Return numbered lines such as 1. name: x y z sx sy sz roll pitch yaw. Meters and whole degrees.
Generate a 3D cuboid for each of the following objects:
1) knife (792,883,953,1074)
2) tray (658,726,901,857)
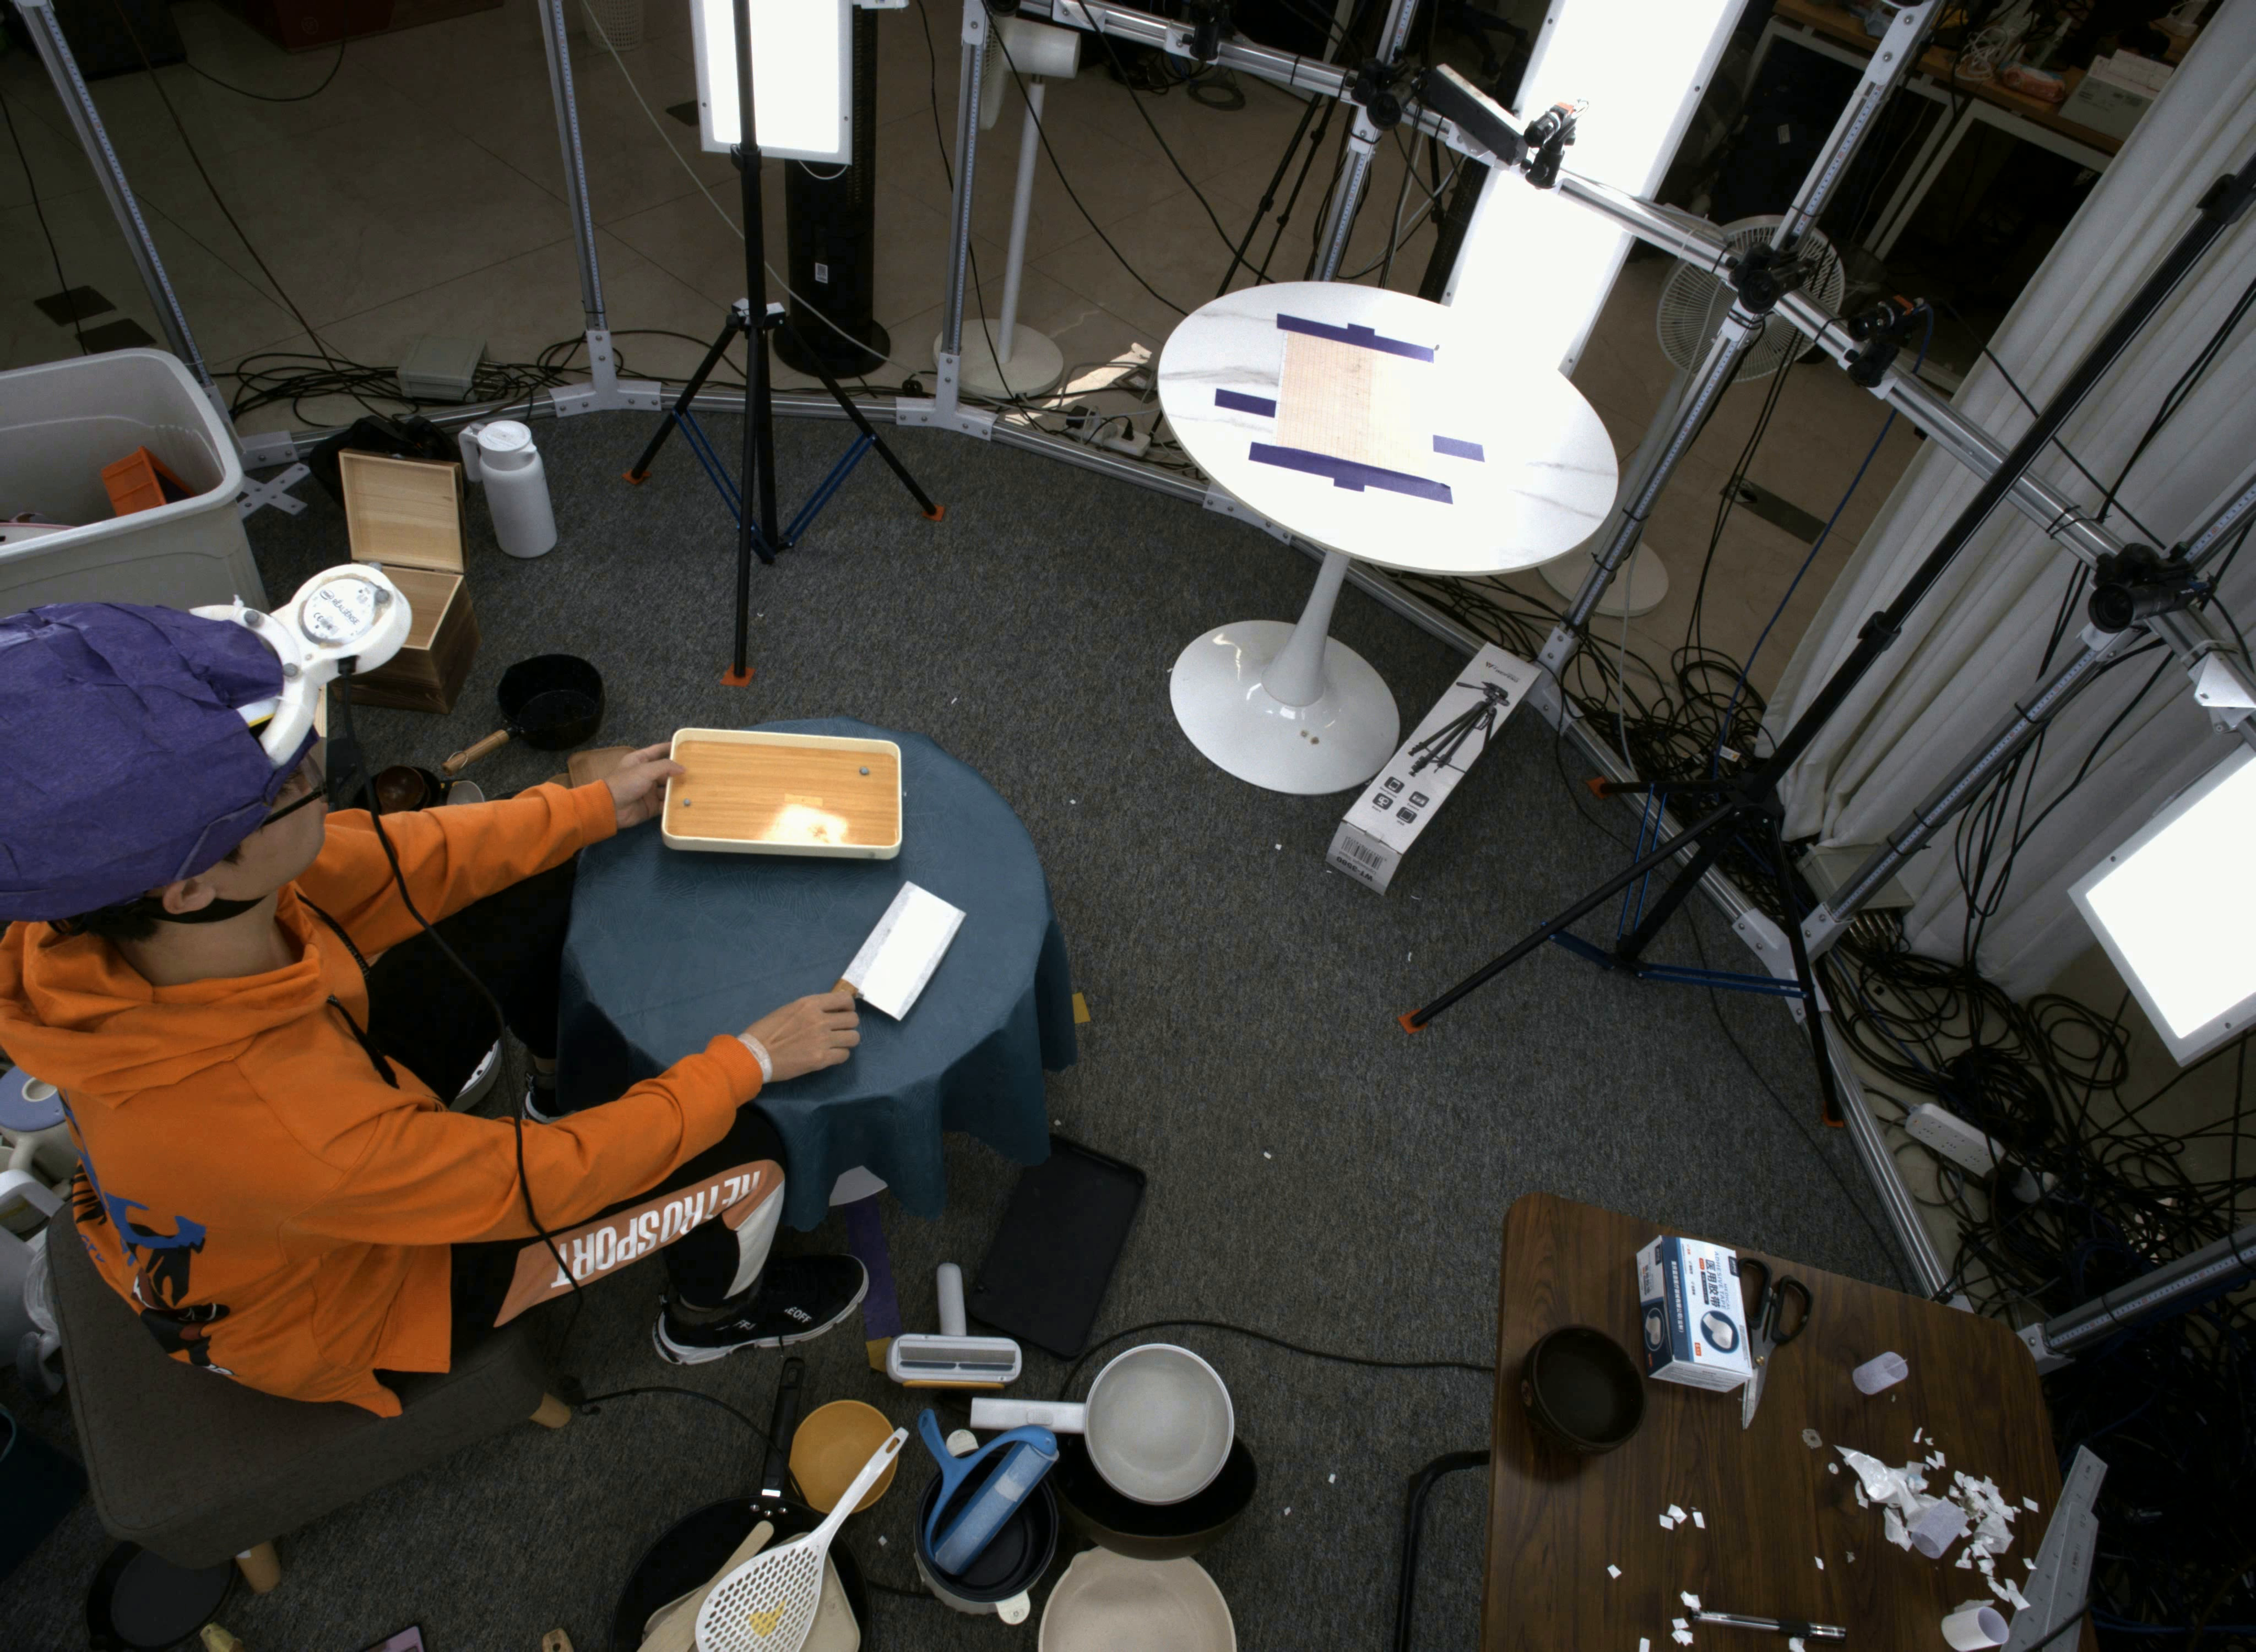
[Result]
1. knife: -0.299 0.187 1.577 0.093 0.021 0.303 31 46 -4
2. tray: -0.448 -0.045 1.680 0.302 0.028 0.187 3 50 -17
